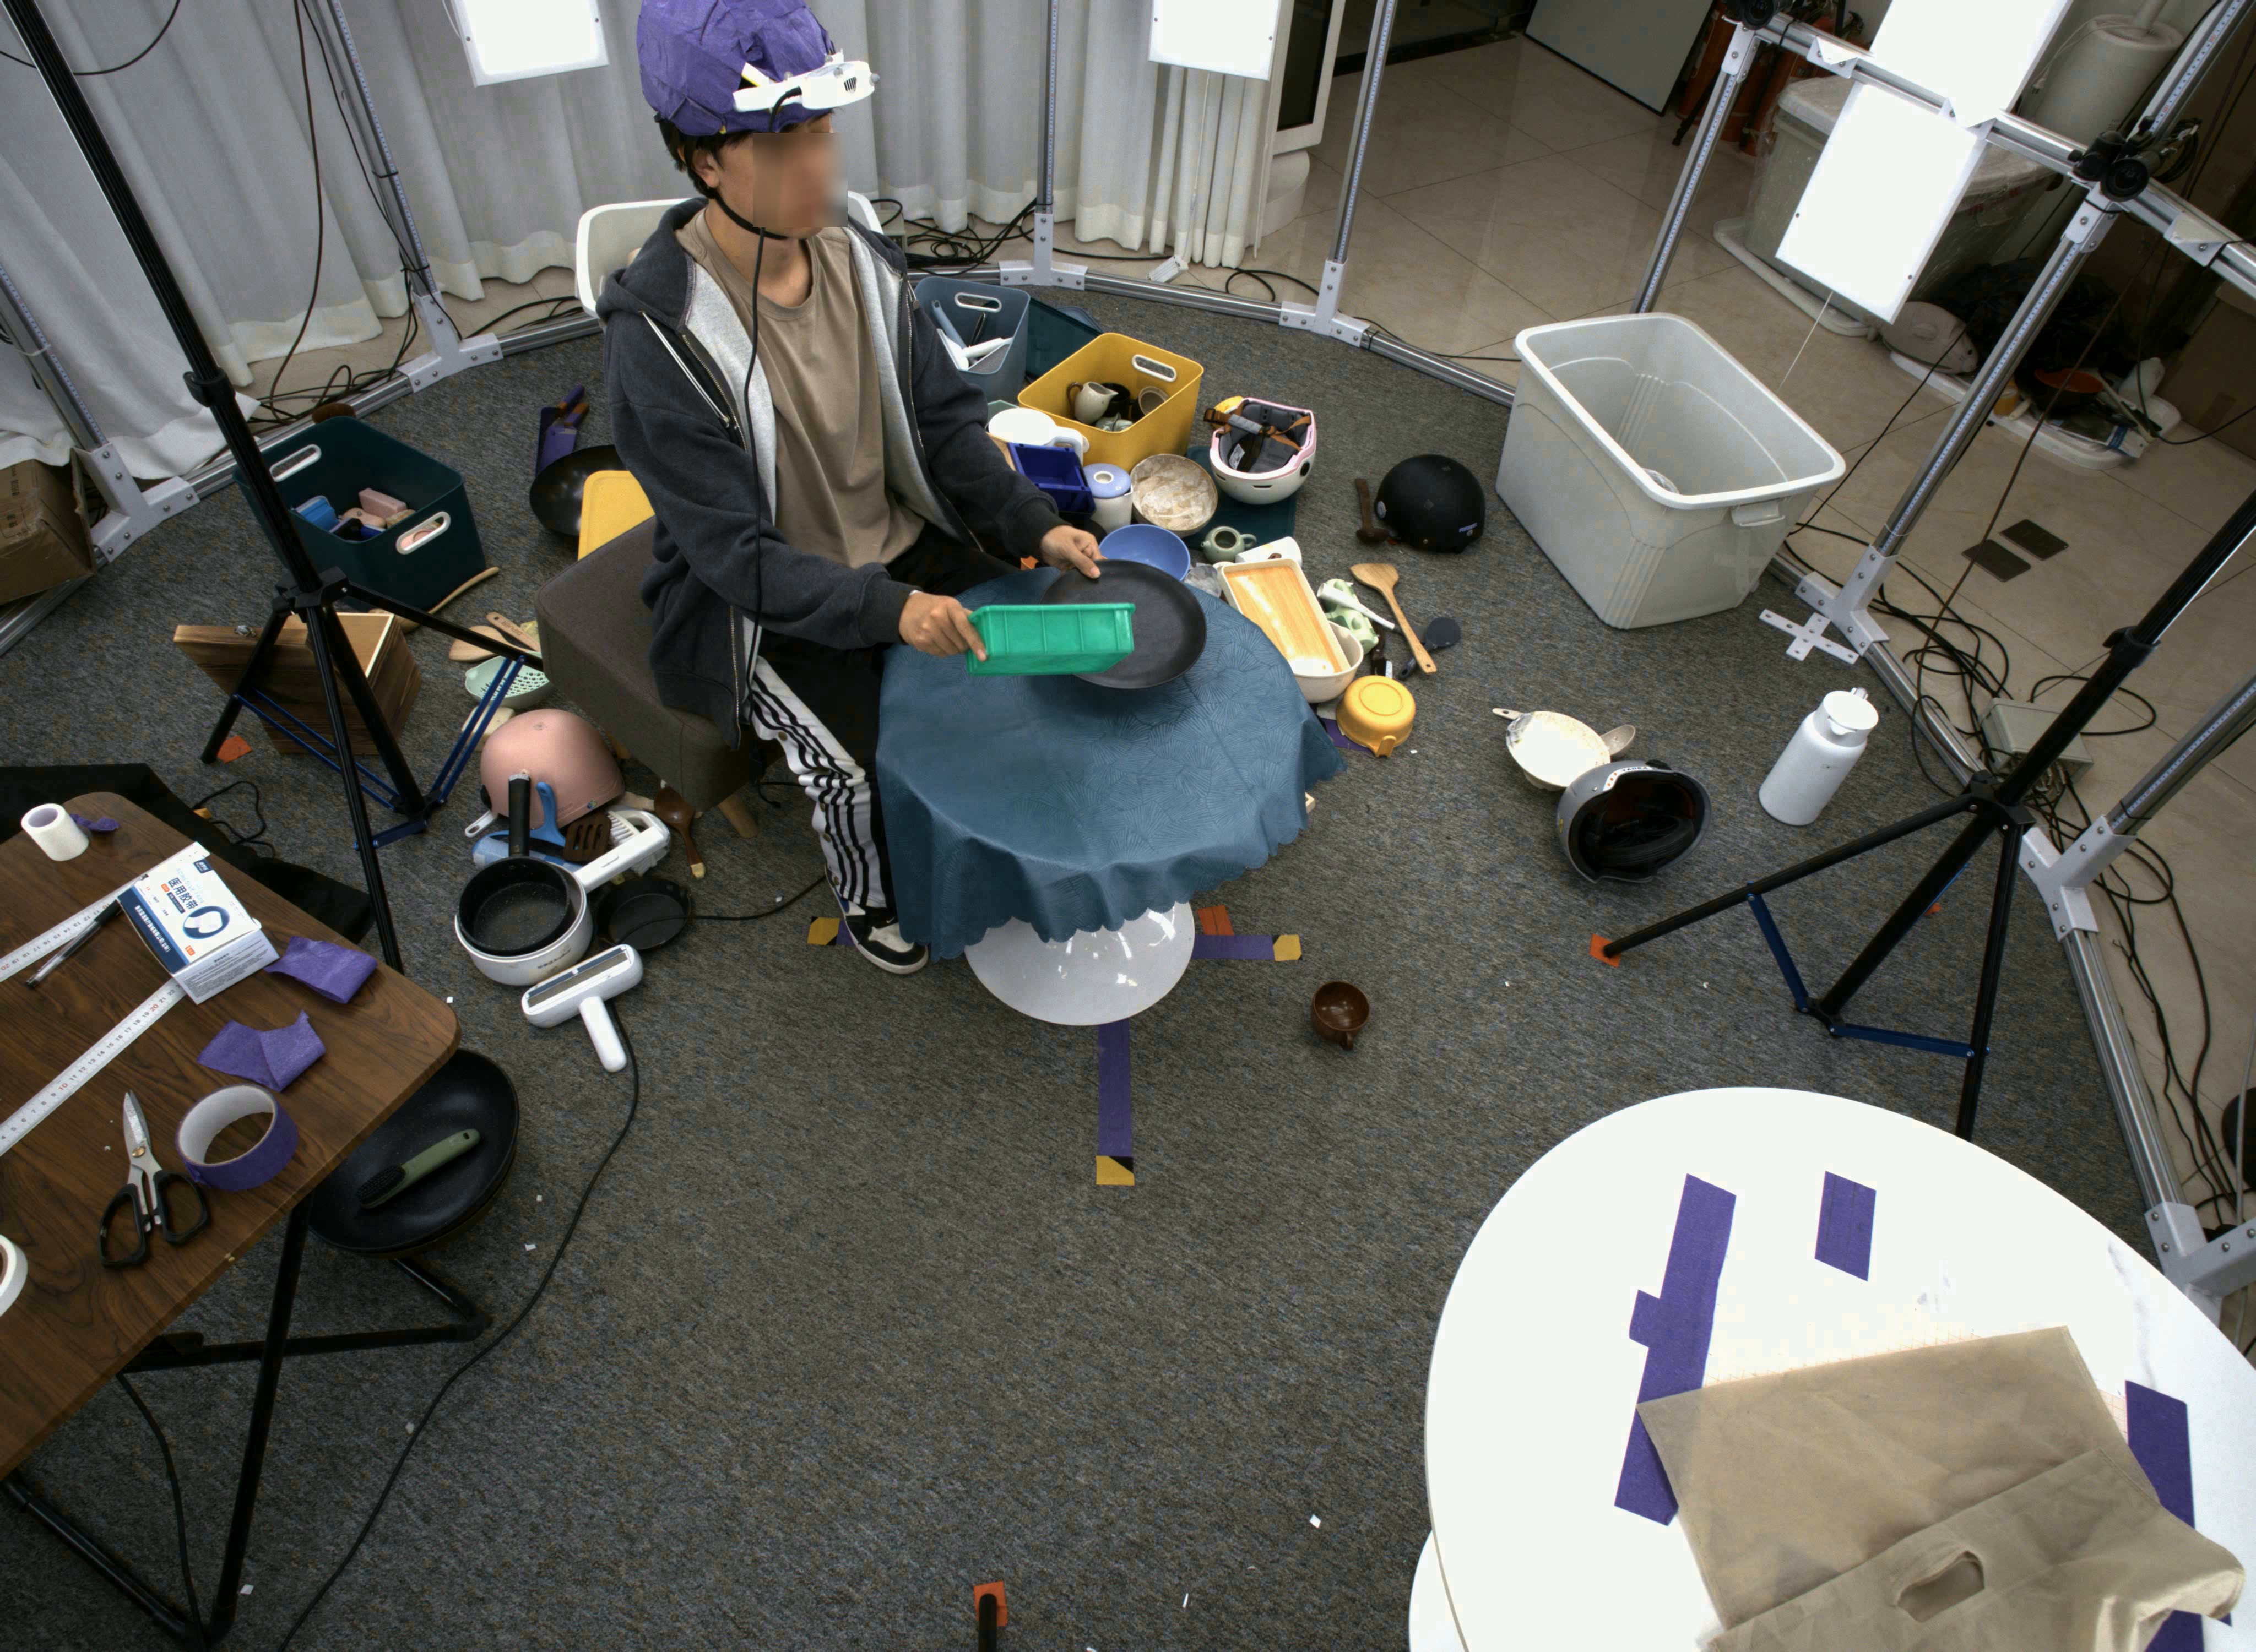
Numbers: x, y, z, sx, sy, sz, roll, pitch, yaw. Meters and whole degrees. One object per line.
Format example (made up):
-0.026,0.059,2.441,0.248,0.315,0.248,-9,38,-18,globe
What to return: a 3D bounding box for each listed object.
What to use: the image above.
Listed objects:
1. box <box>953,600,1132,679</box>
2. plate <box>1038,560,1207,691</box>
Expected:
-0.104,-0.230,1.599,0.210,0.138,0.066,-7,84,-21,box
-0.010,-0.283,1.829,0.244,0.023,0.250,3,56,-4,plate
